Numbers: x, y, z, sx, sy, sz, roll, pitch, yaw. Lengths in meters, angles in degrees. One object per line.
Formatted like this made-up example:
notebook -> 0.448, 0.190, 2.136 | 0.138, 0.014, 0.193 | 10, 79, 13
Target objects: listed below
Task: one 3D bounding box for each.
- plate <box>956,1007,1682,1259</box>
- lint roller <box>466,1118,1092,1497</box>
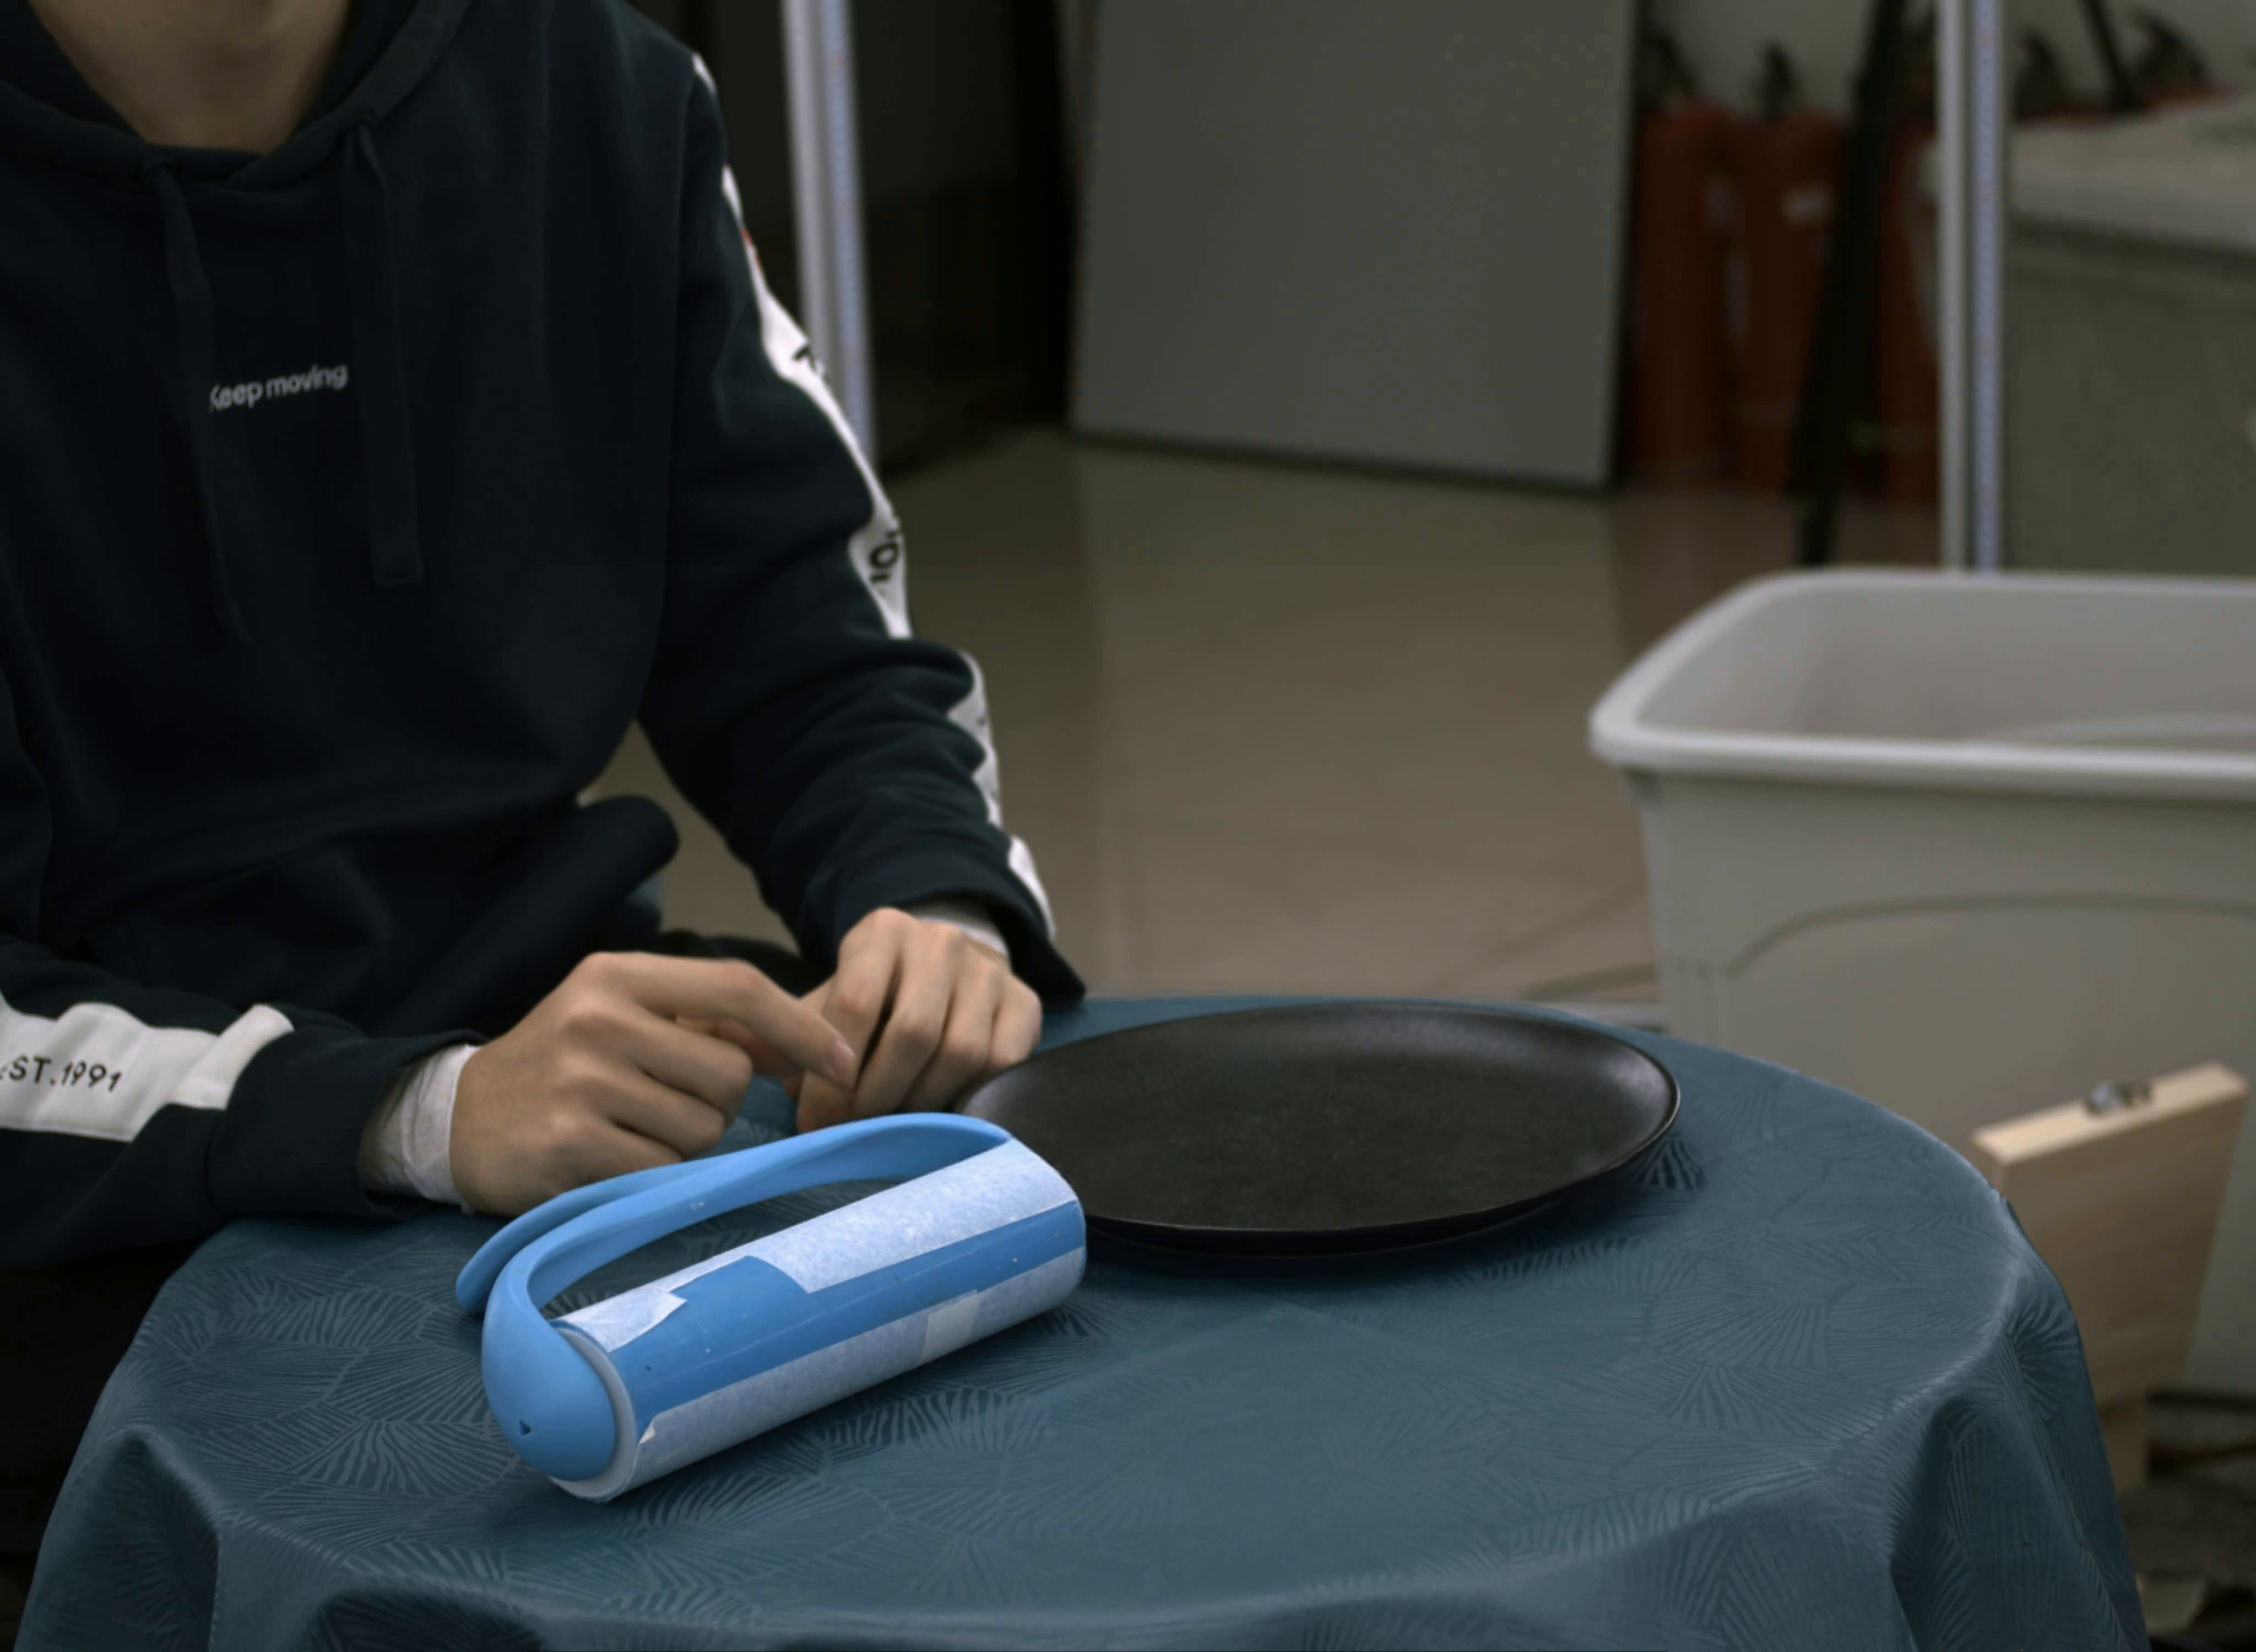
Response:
plate -> 0.063, 0.104, 1.777 | 0.241, 0.024, 0.245 | -4, 13, 0
lint roller -> -0.138, 0.138, 1.628 | 0.181, 0.068, 0.224 | 6, 17, 39
